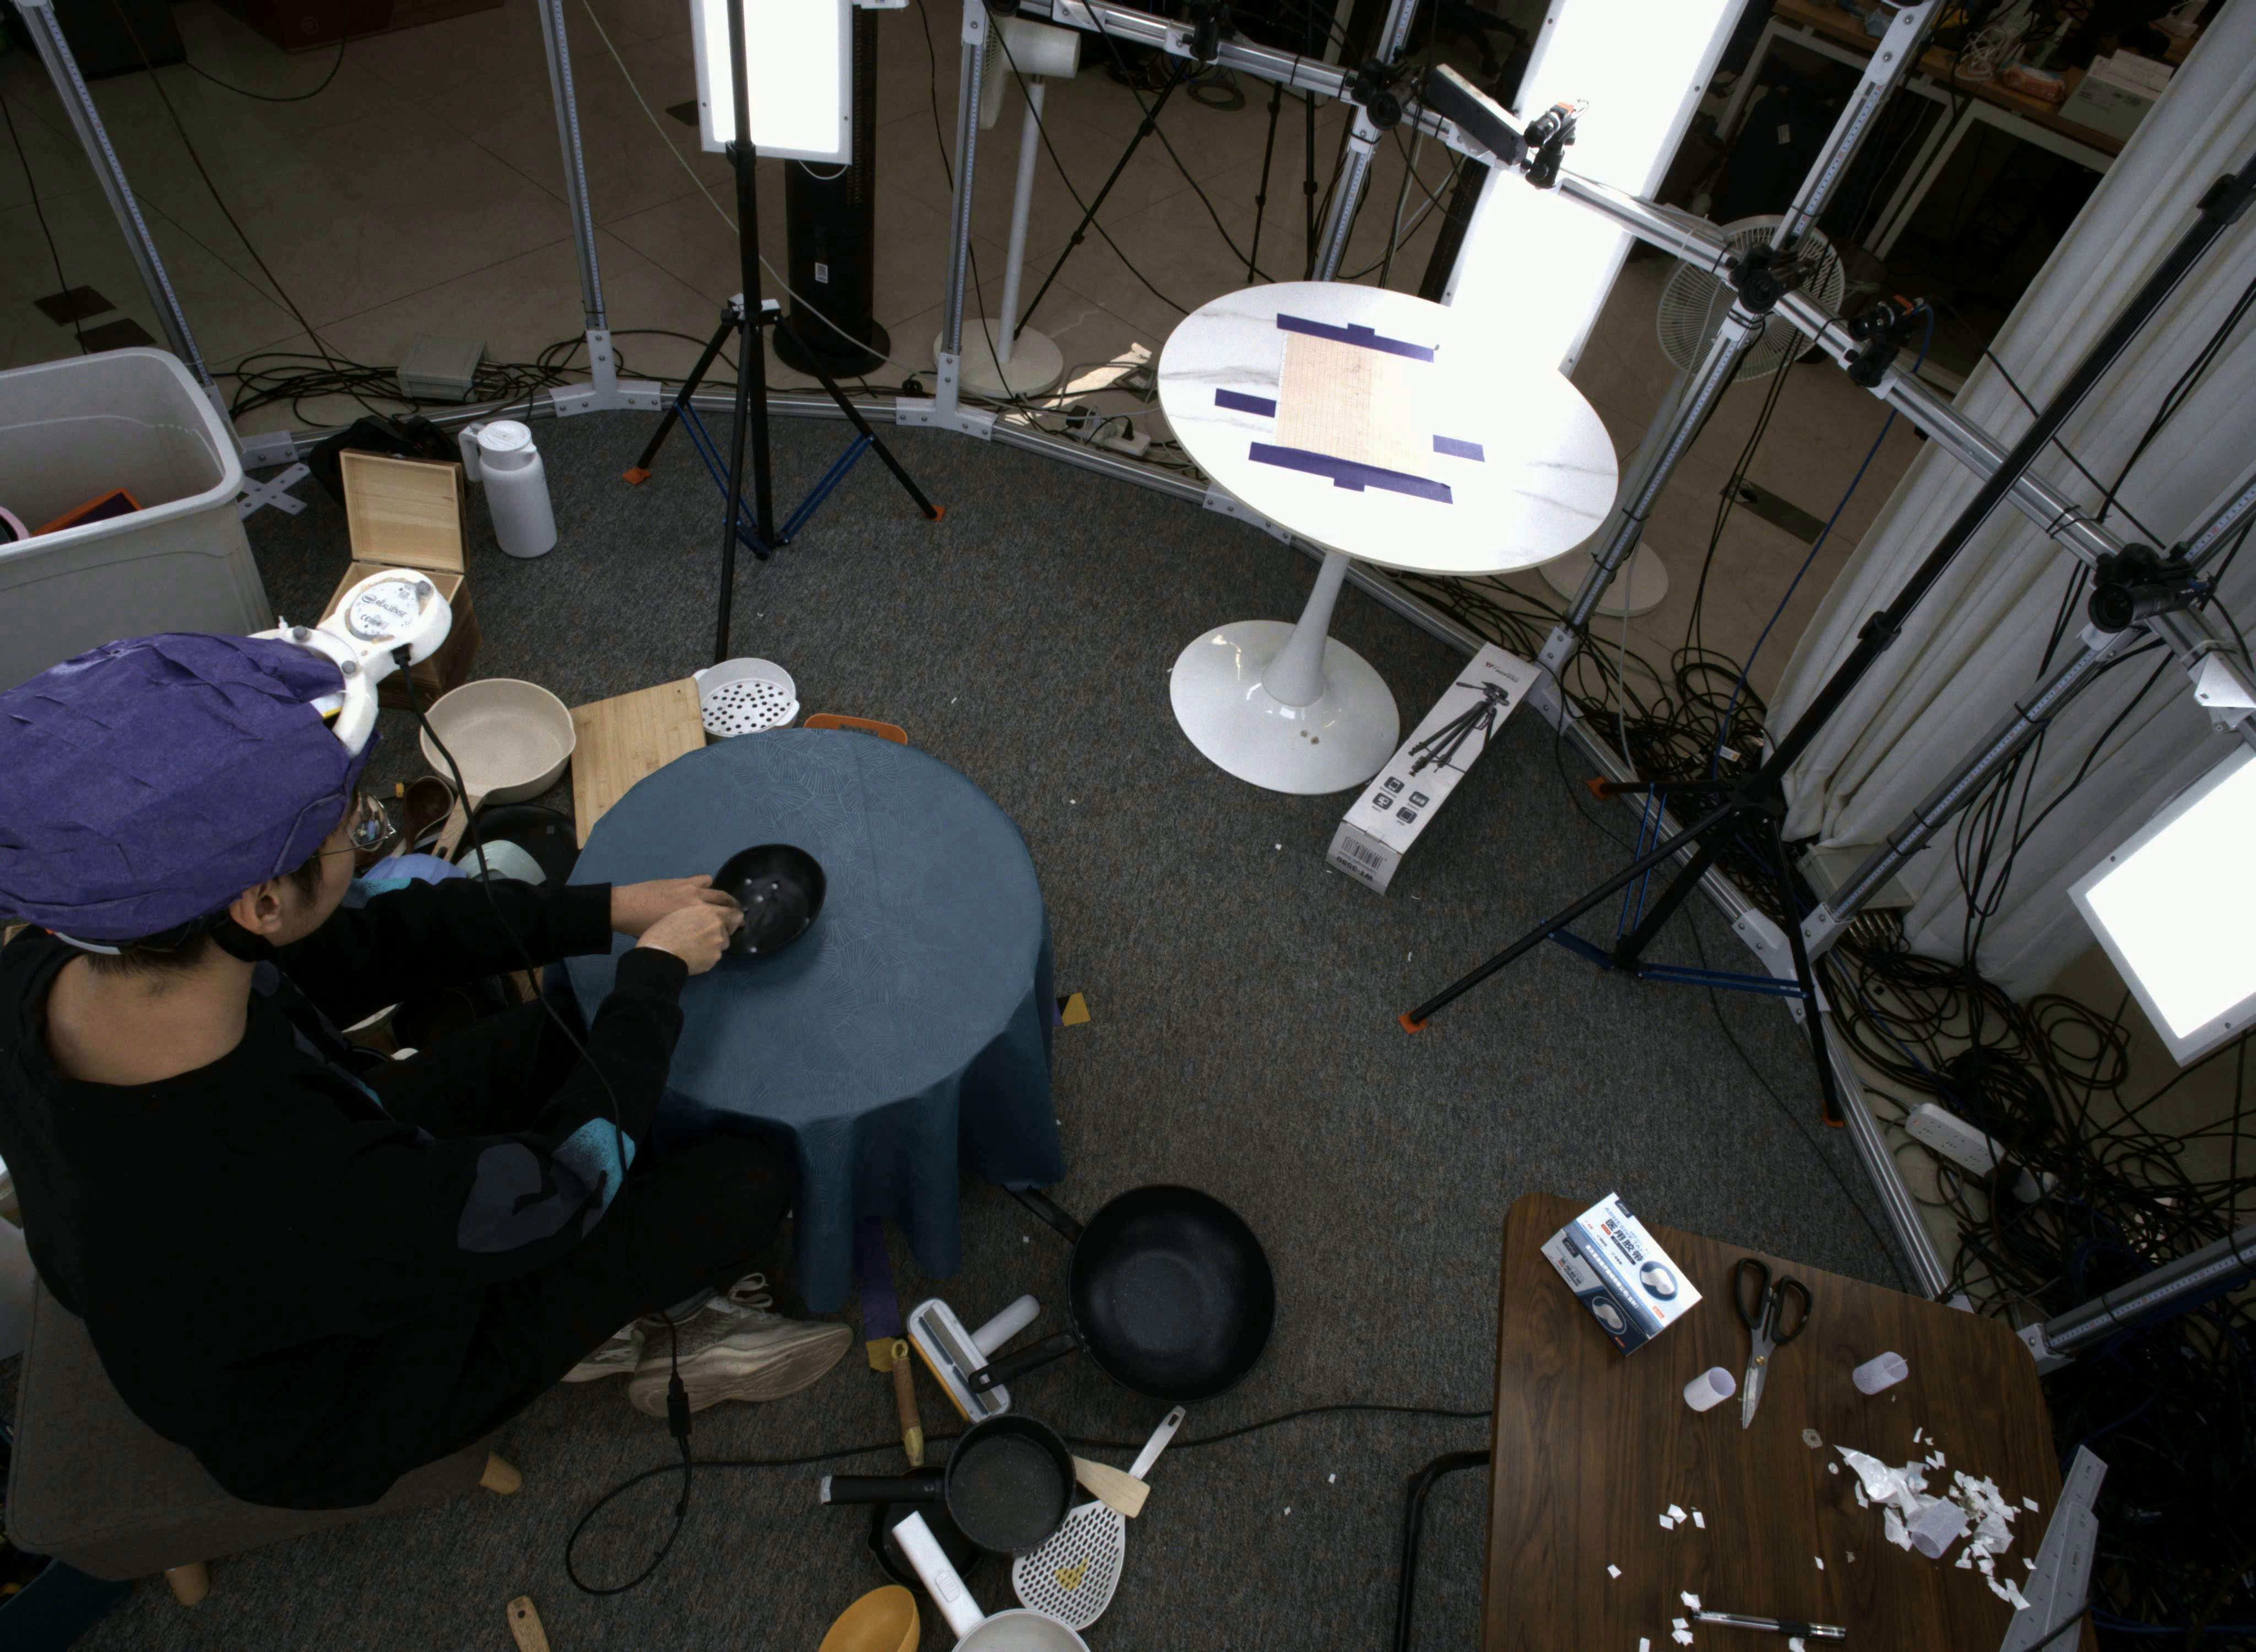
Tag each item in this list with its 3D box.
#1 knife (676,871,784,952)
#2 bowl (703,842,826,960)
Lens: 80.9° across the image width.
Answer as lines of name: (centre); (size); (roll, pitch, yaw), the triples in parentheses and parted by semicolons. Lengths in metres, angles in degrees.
knife: (-0.466, 0.096, 1.529); (0.017, 0.026, 0.225); (26, 23, 7)
bowl: (-0.445, 0.100, 1.591); (0.136, 0.068, 0.169); (22, 53, 3)
